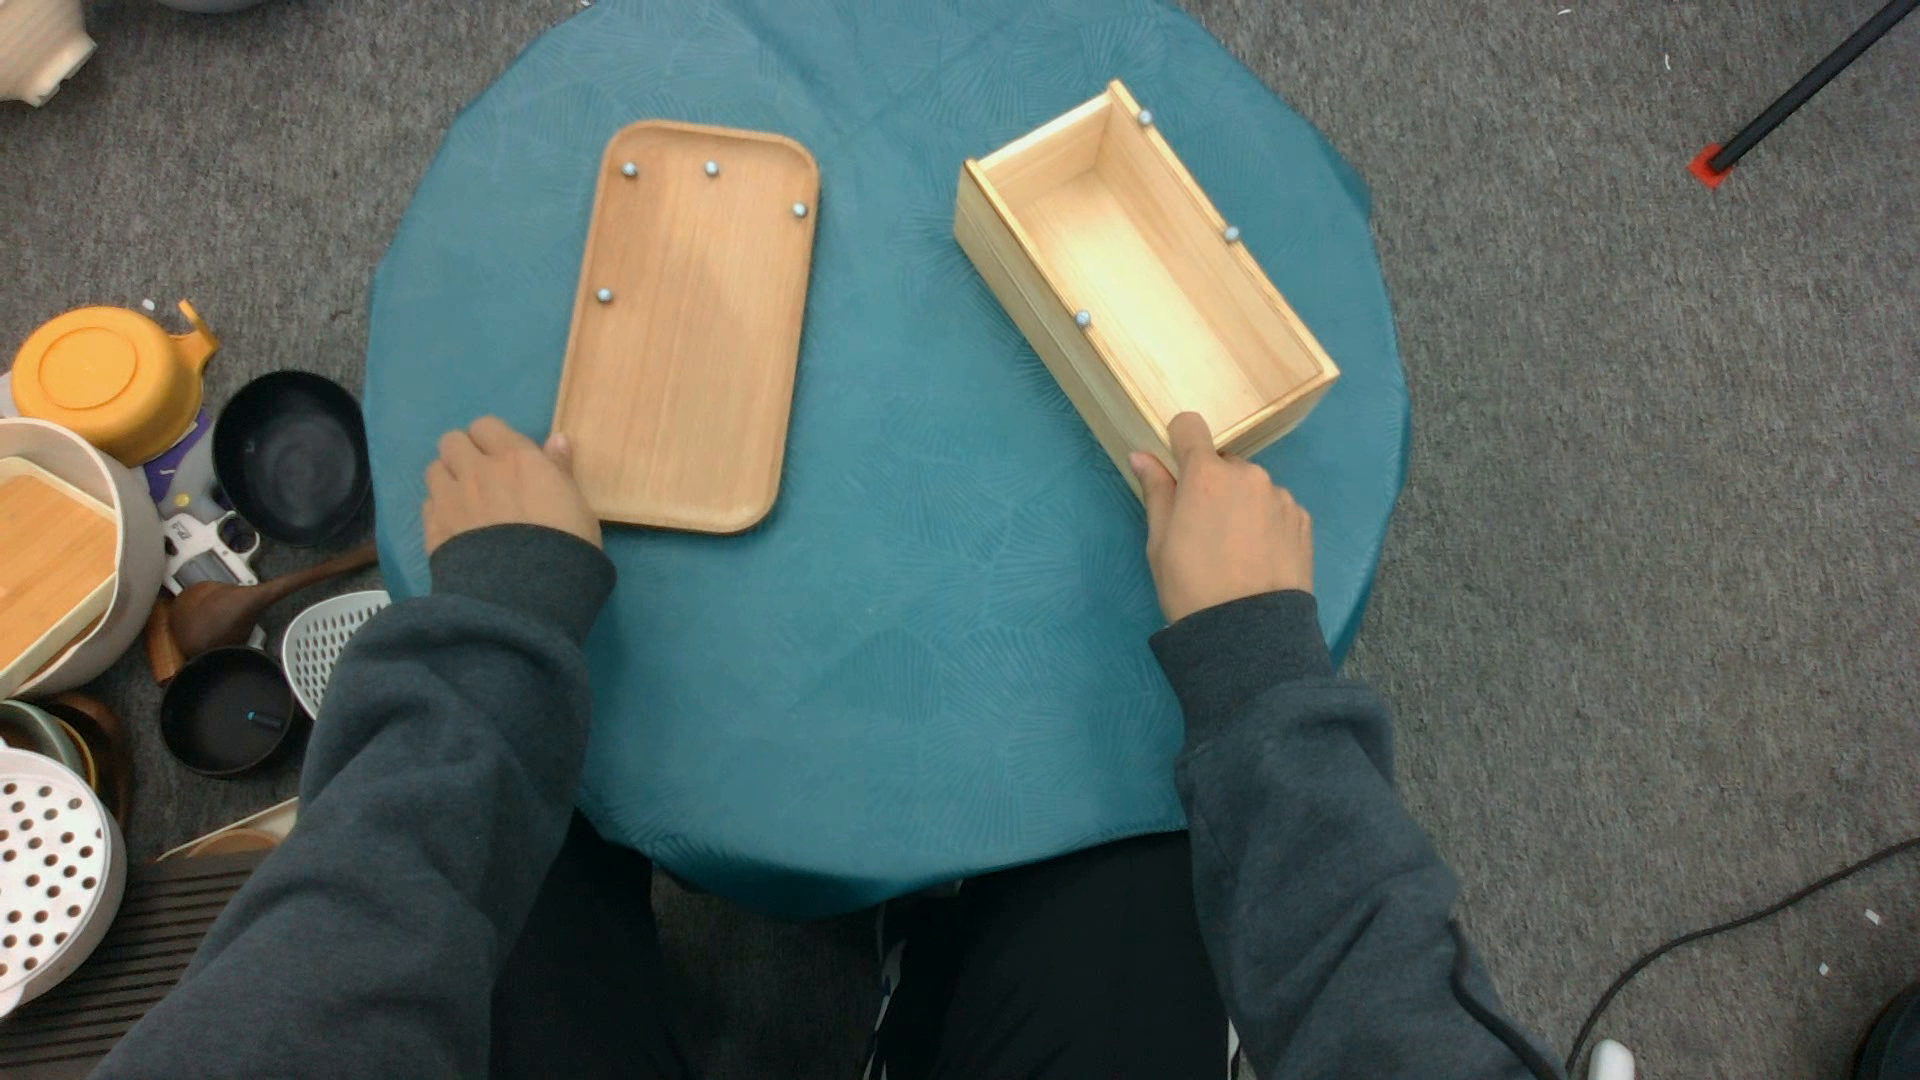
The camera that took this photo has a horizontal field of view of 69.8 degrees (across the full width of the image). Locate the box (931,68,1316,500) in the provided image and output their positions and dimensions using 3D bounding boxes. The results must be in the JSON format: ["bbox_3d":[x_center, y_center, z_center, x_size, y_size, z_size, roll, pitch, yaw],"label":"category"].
[{"bbox_3d":[0.086,-0.144,0.779,0.108,0.080,0.211,-32,78,-14],"label":"box"}]

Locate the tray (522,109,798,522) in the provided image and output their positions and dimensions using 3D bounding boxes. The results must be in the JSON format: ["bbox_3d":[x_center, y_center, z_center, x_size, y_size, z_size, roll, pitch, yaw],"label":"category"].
[{"bbox_3d":[-0.166,-0.131,0.783,0.130,0.023,0.251,5,72,-1],"label":"tray"}]
